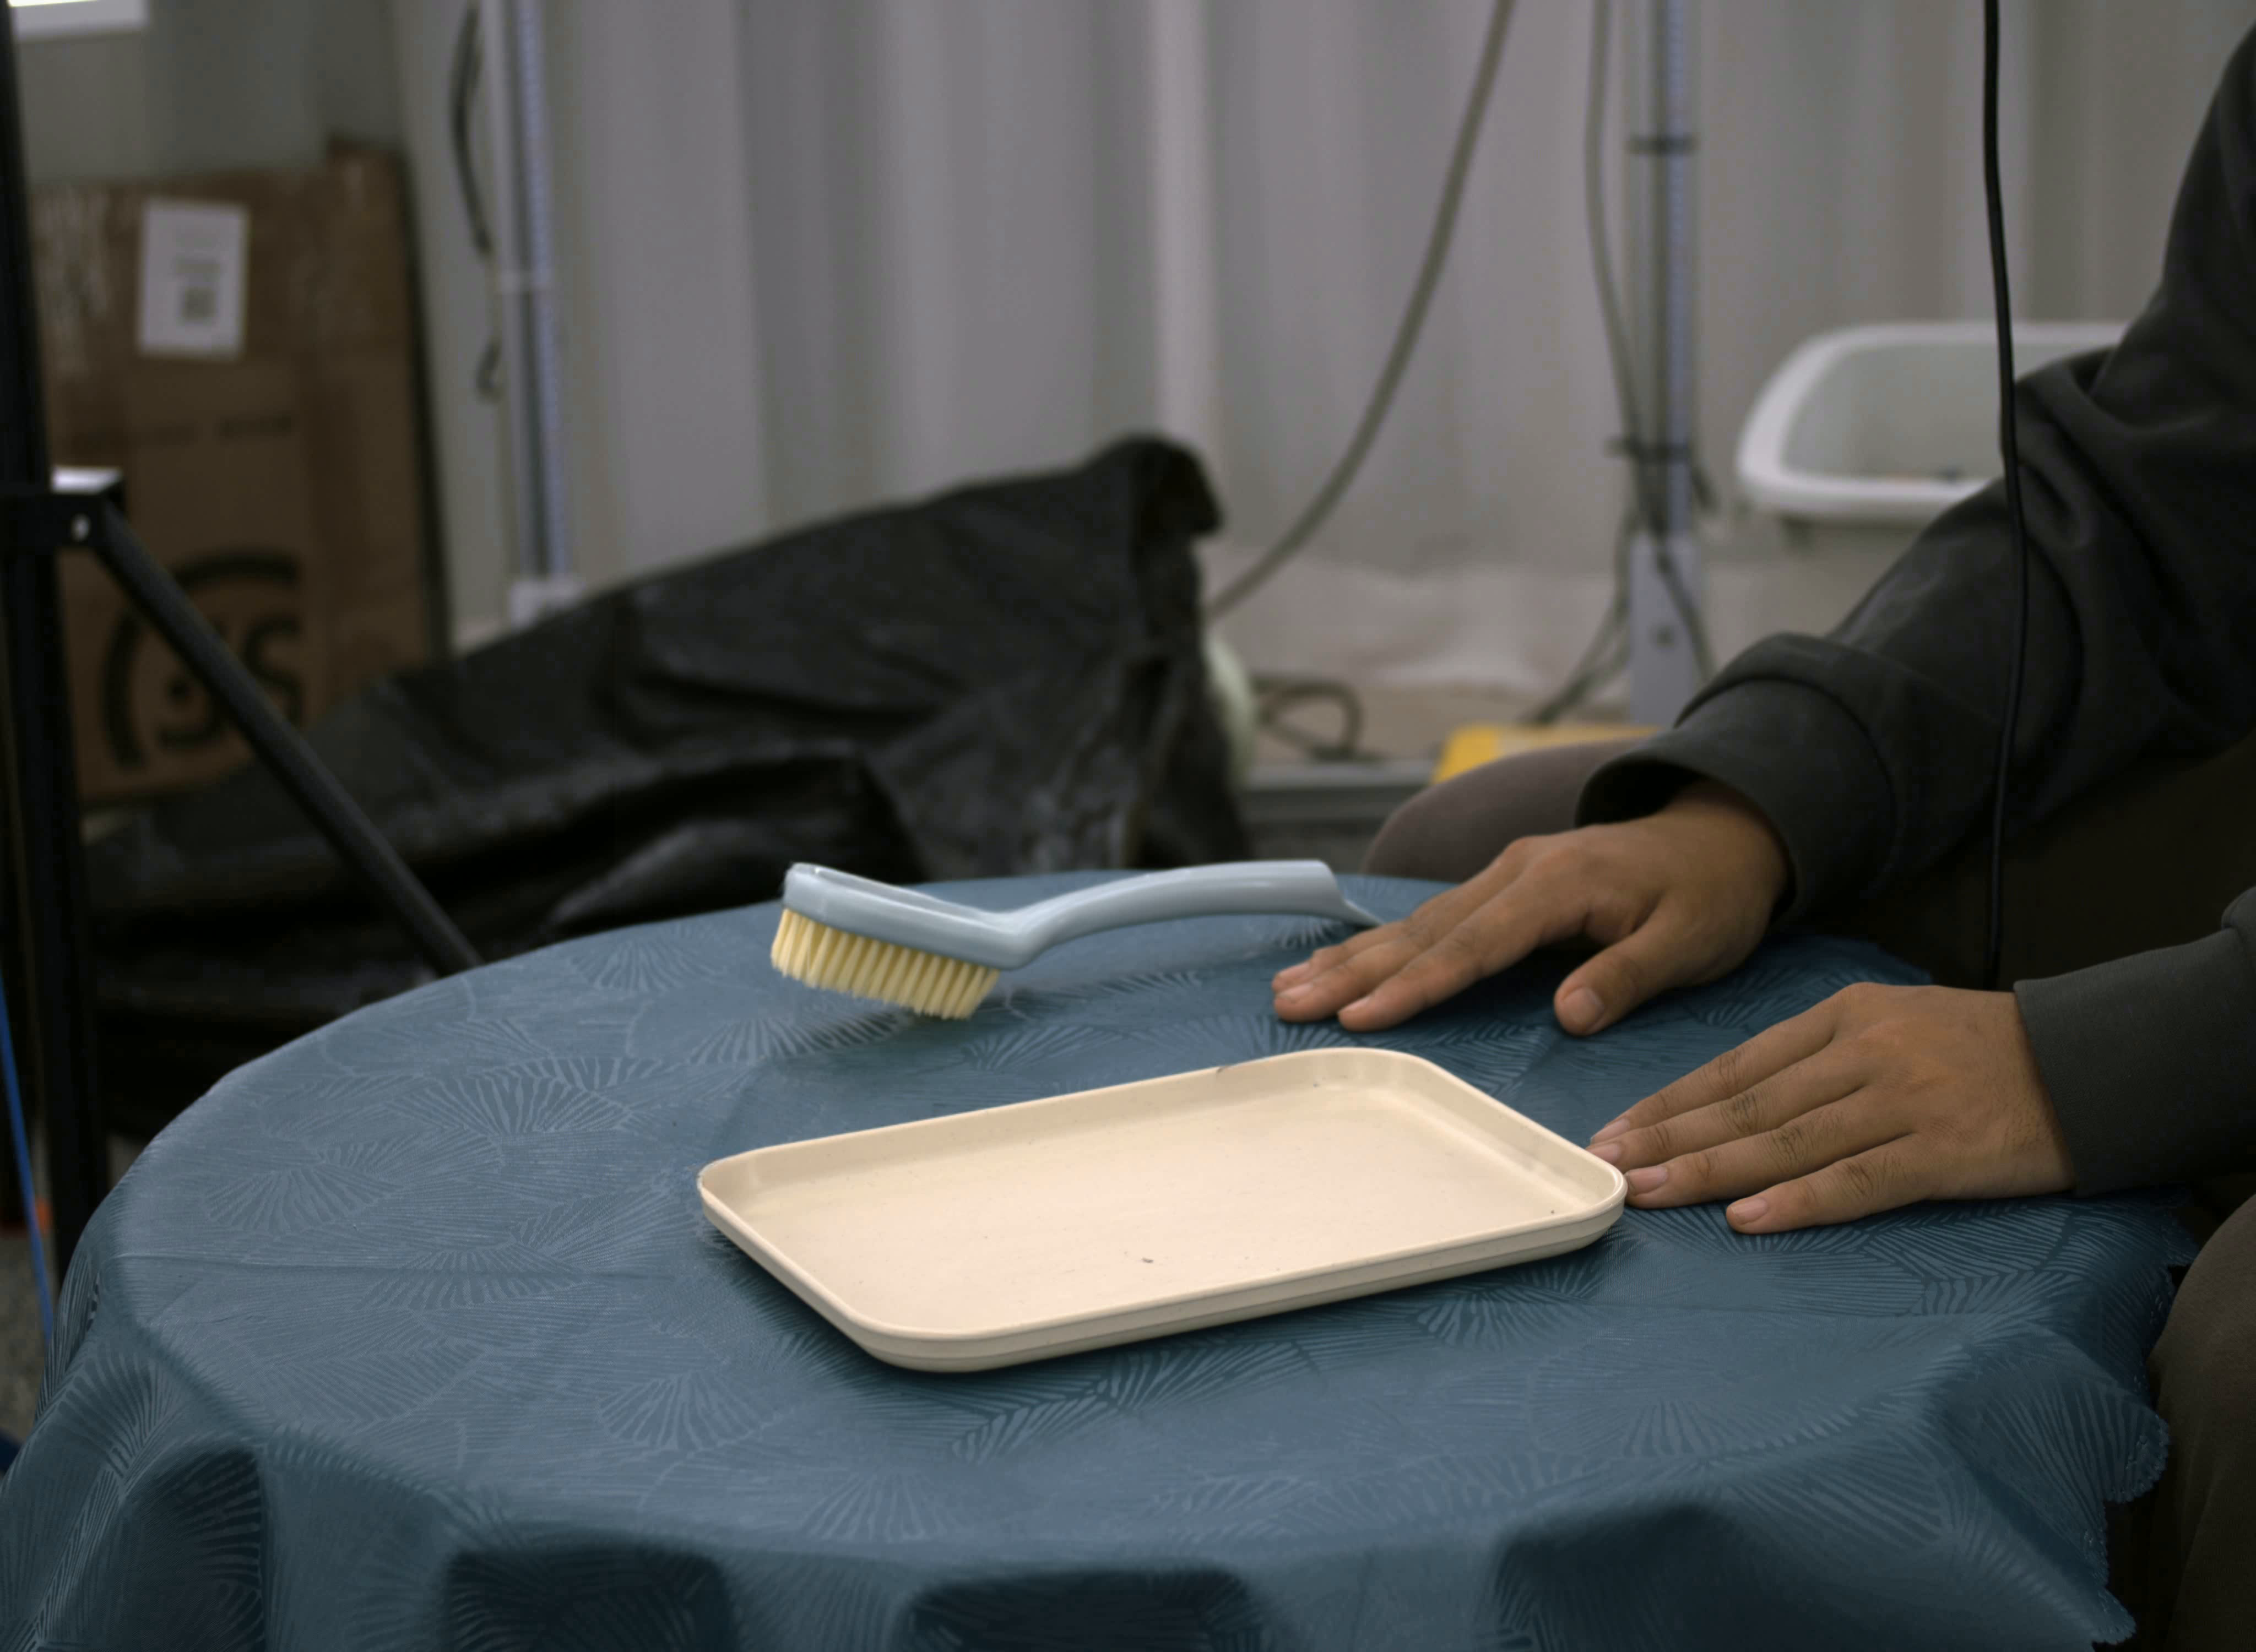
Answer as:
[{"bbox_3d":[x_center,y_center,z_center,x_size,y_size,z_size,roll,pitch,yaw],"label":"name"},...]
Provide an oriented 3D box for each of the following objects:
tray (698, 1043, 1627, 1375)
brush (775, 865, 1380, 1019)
[{"bbox_3d":[0.009,0.109,1.520,0.235,0.017,0.174,-9,18,-22],"label":"tray"},{"bbox_3d":[-0.015,0.037,1.753,0.223,0.050,0.038,-2,19,-31],"label":"brush"}]
